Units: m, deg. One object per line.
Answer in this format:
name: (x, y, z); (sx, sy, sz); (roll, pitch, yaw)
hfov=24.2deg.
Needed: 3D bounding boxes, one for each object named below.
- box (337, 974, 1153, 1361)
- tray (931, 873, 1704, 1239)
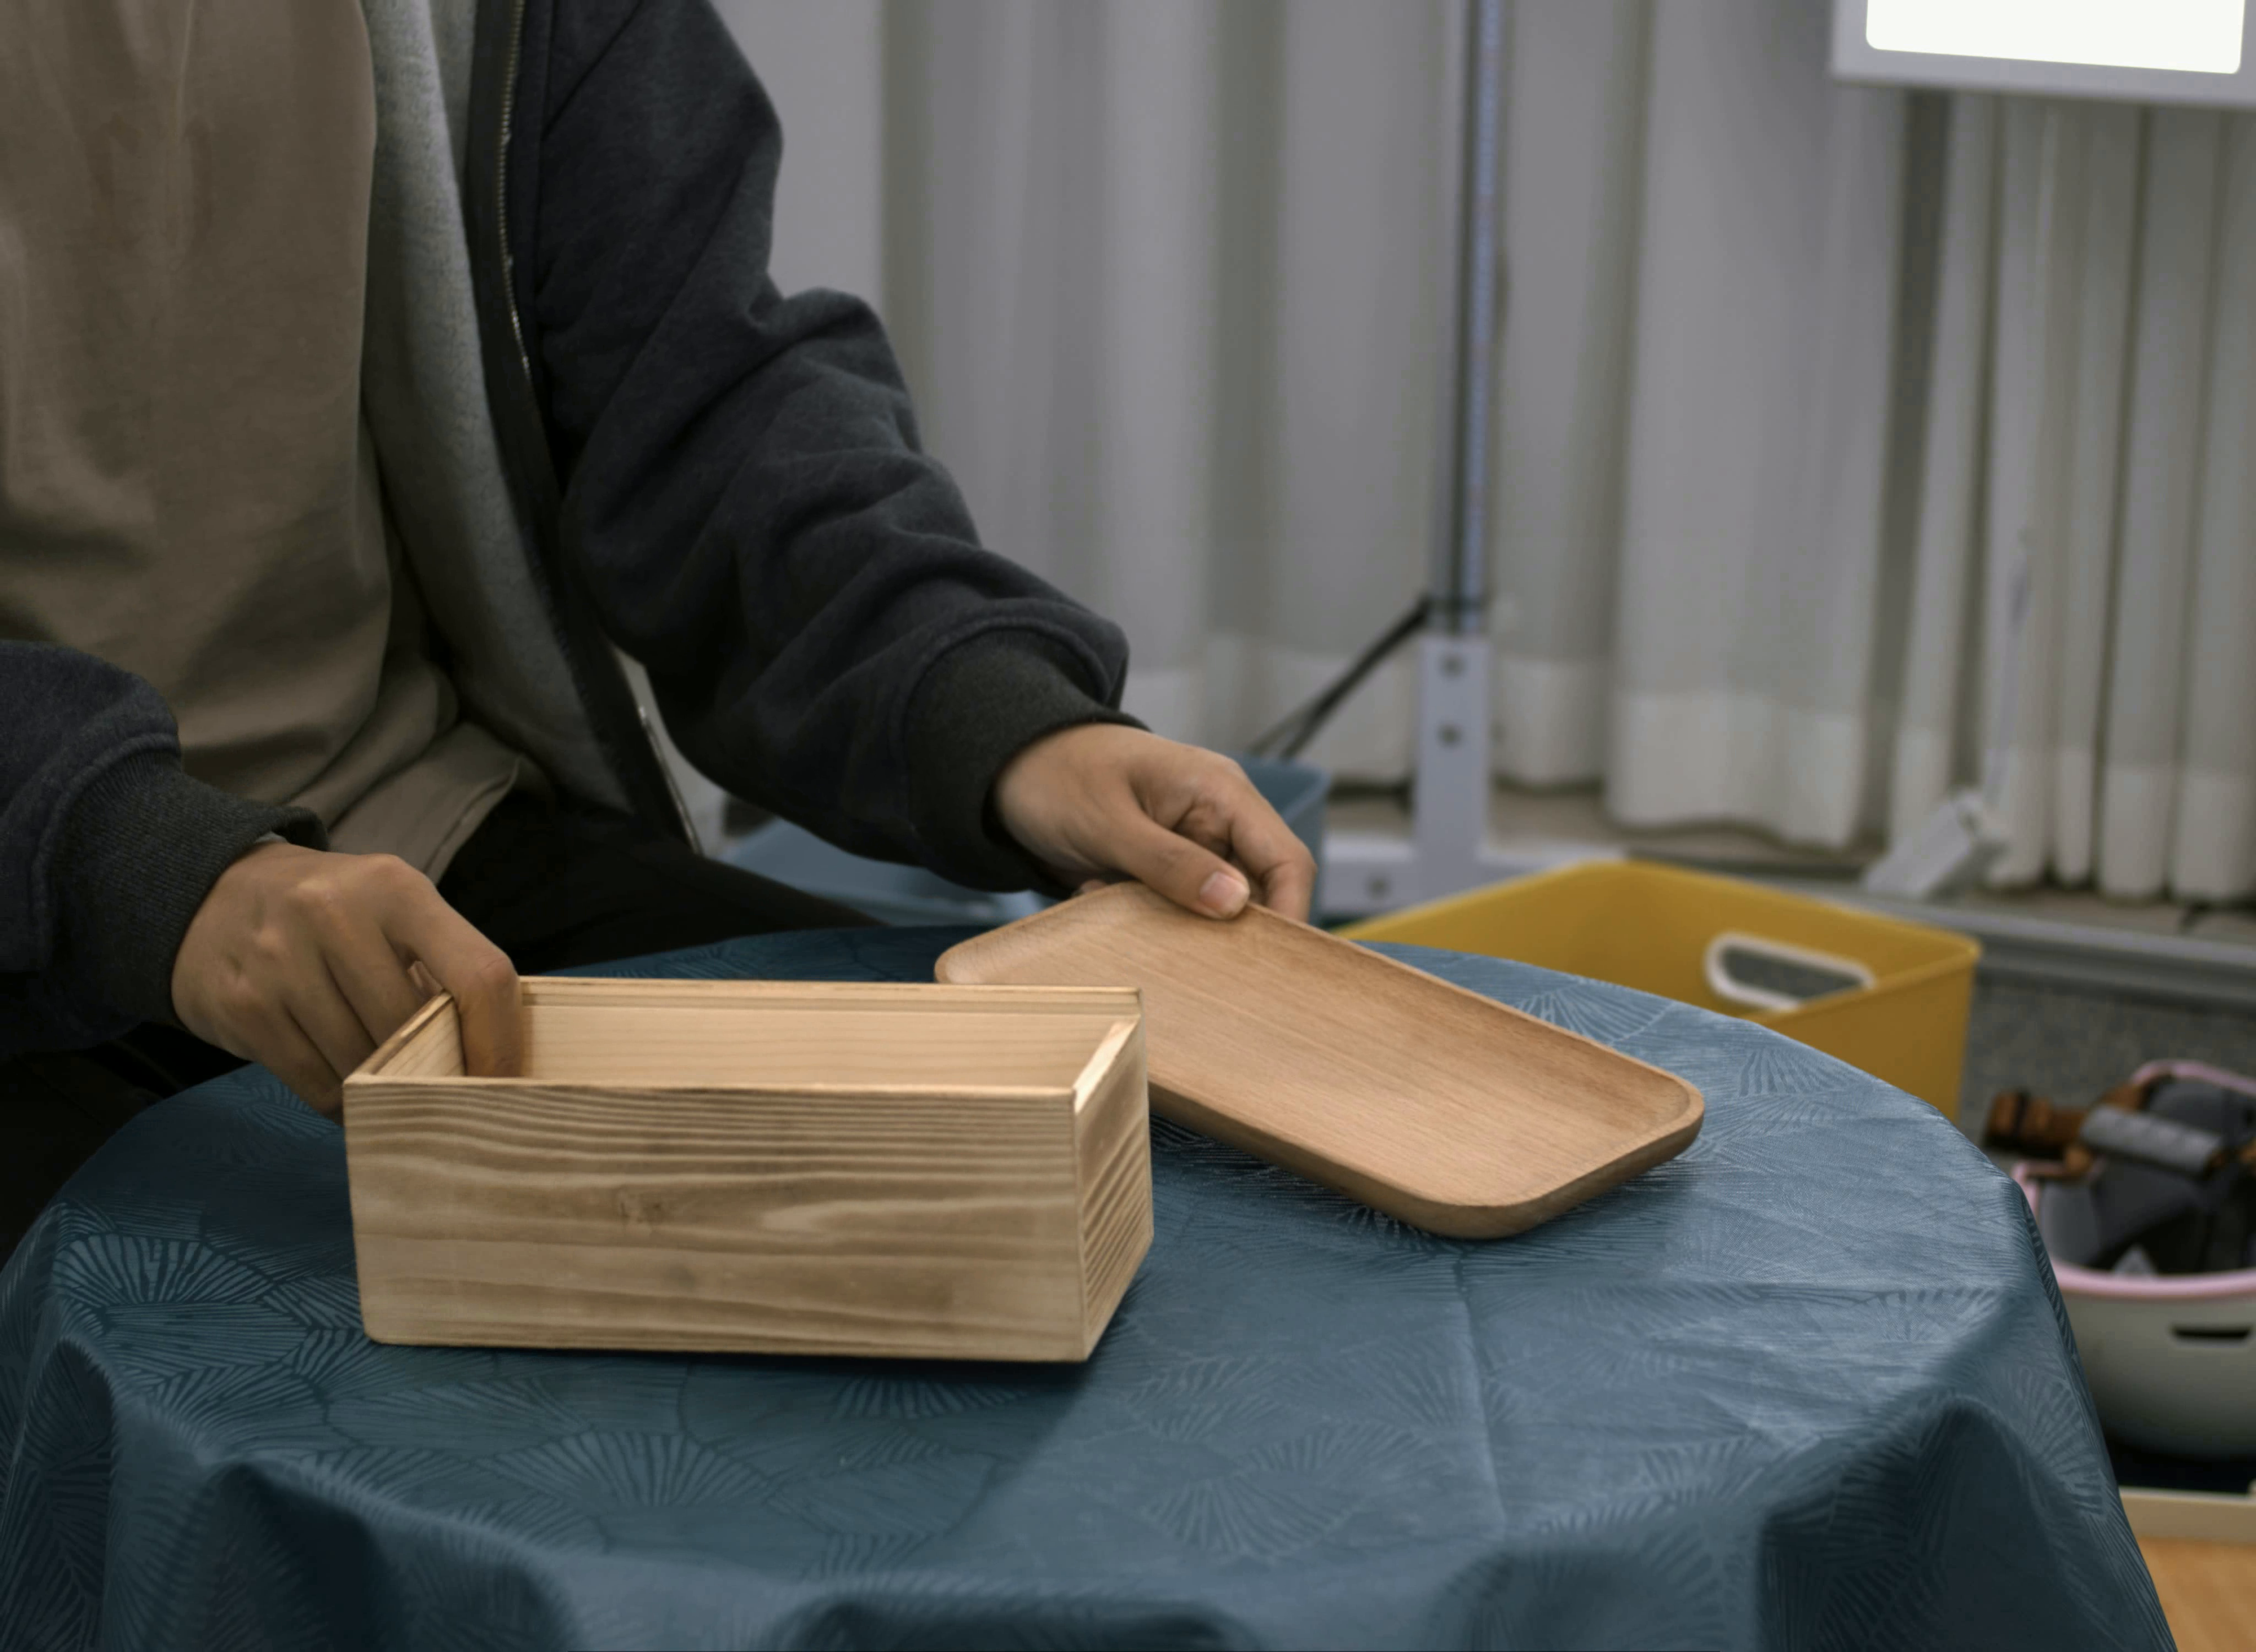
box: (-0.107, 0.096, 1.510); (0.210, 0.081, 0.107); (0, 15, 11)
tray: (0.057, 0.071, 1.681); (0.247, 0.023, 0.131); (22, 27, 39)
